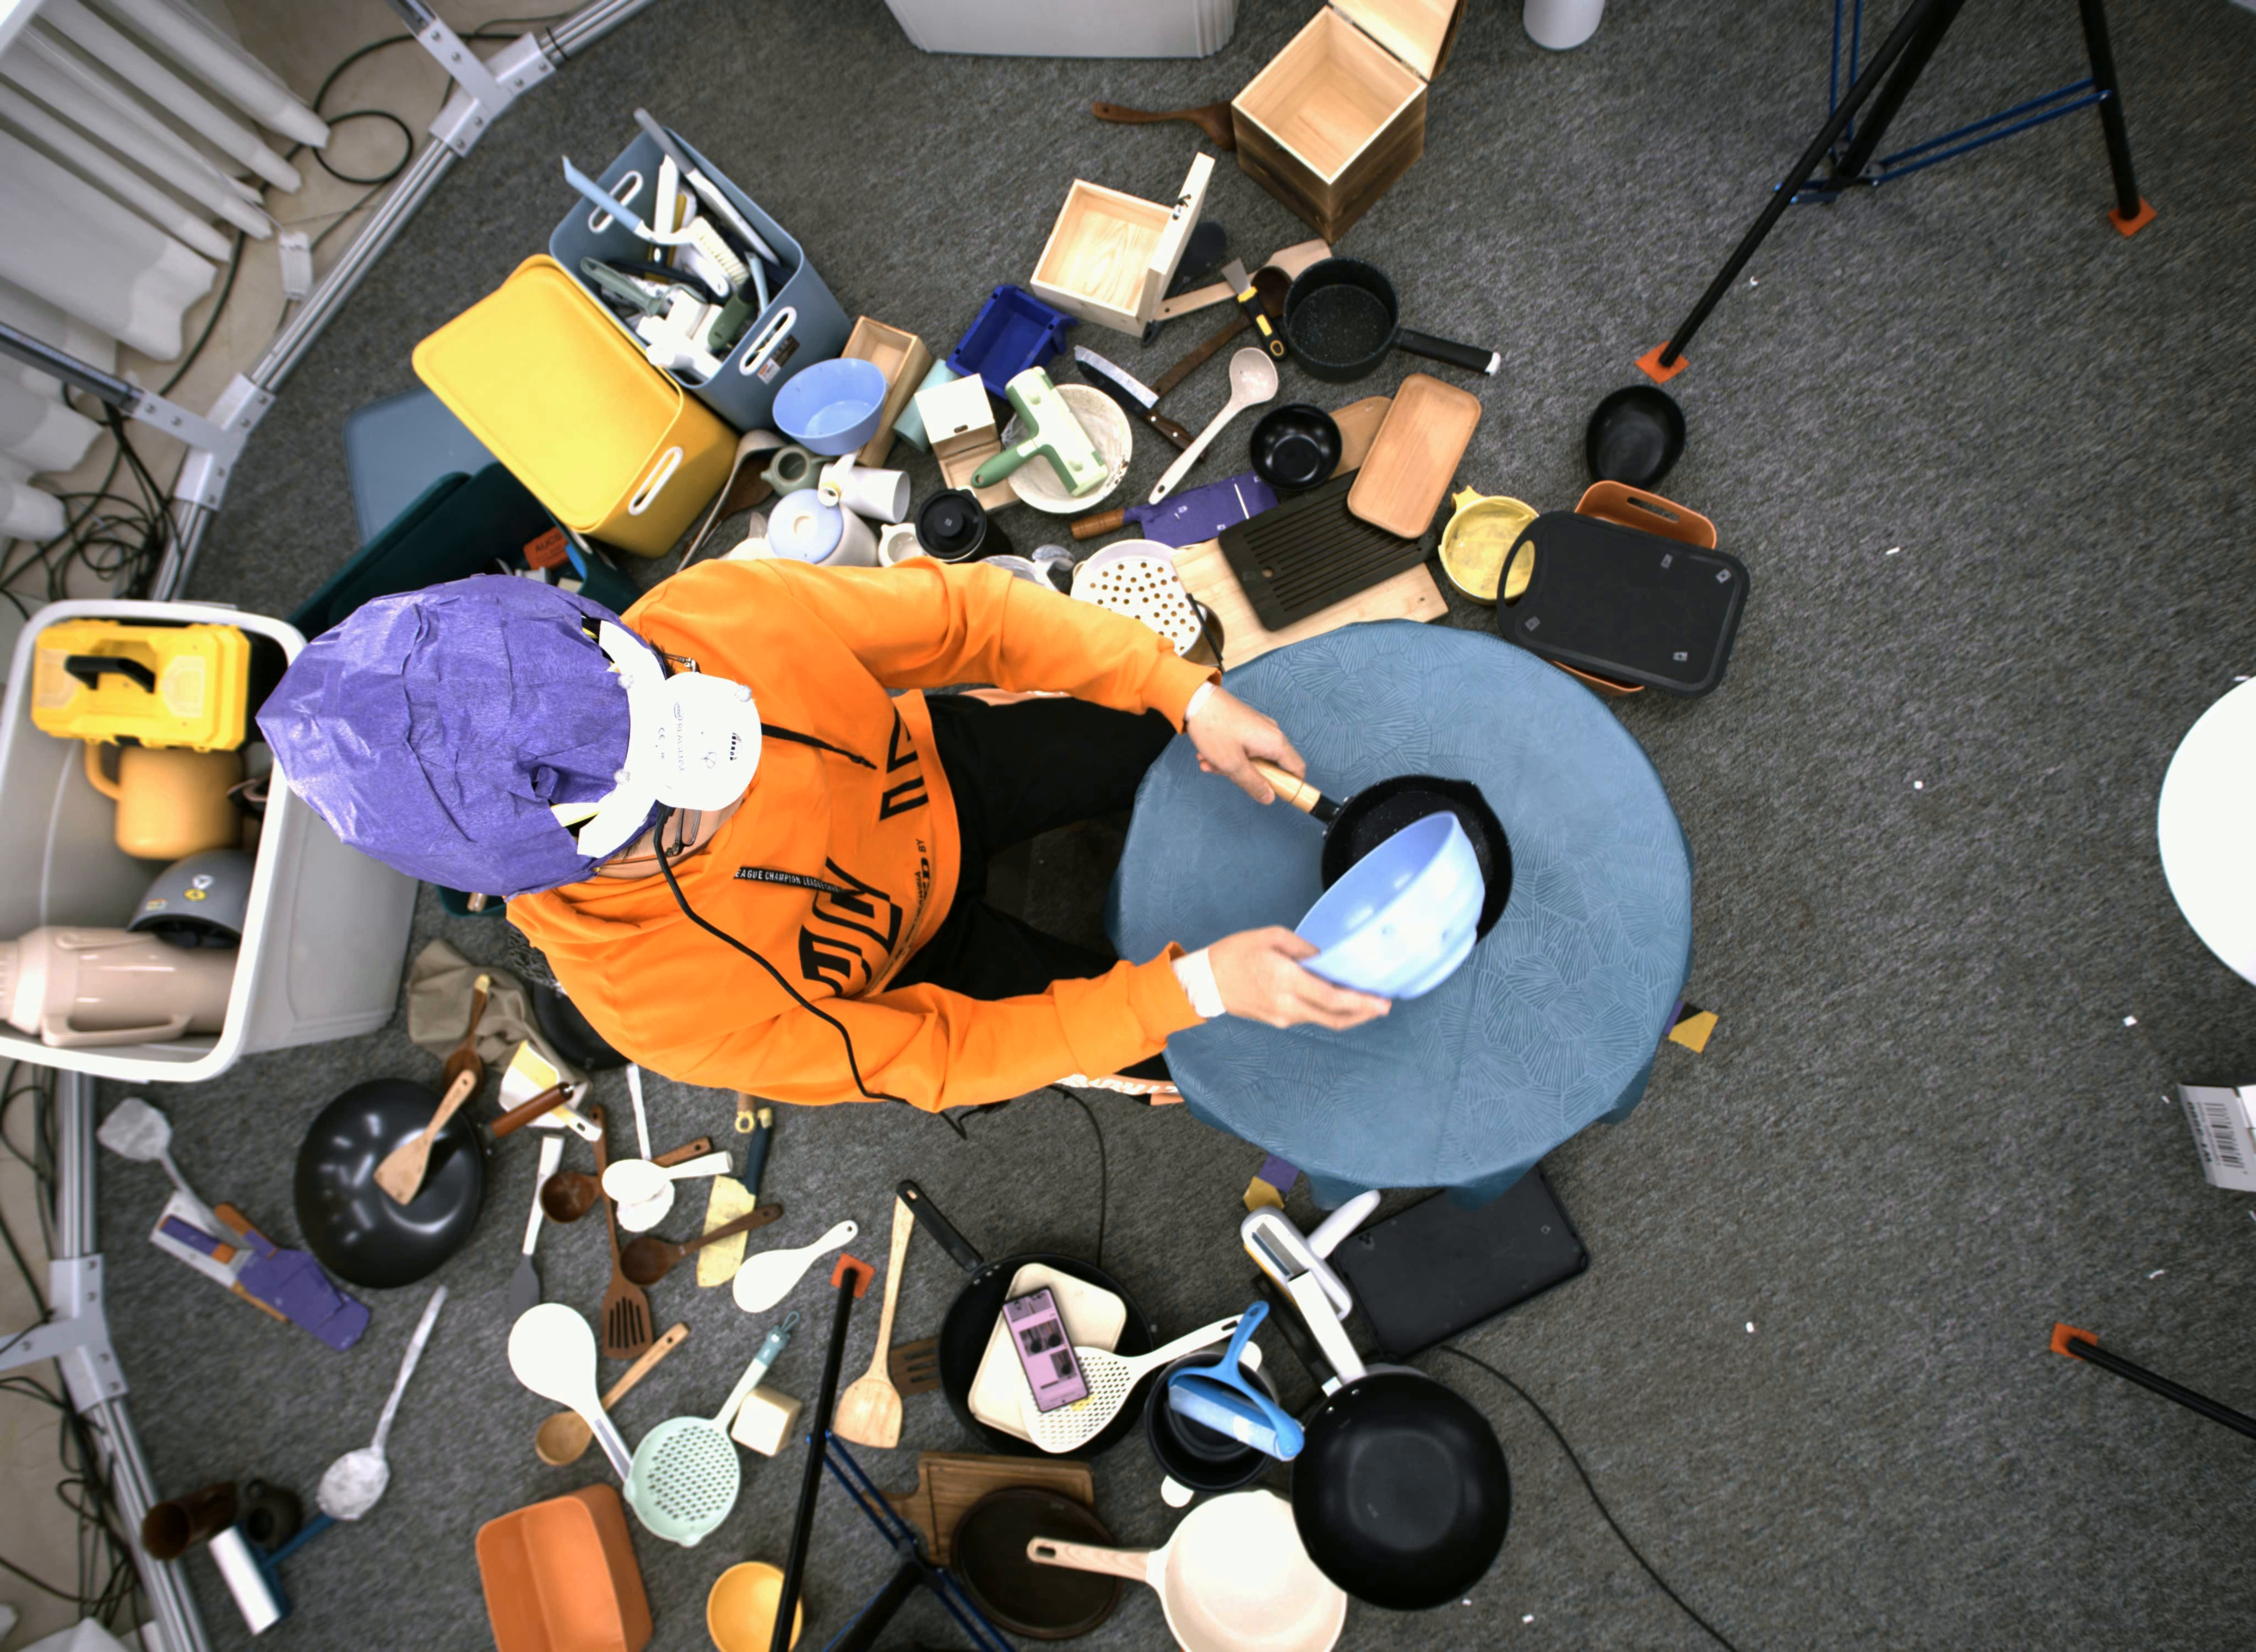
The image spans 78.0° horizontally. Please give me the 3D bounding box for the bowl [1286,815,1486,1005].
[{"bbox_3d":[0.244,0.090,1.226,0.197,0.195,0.096,-42,99,4],"label":"bowl"}]

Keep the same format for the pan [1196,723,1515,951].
[{"bbox_3d":[0.220,-0.003,1.374,0.342,0.107,0.210,32,104,8],"label":"pan"}]
